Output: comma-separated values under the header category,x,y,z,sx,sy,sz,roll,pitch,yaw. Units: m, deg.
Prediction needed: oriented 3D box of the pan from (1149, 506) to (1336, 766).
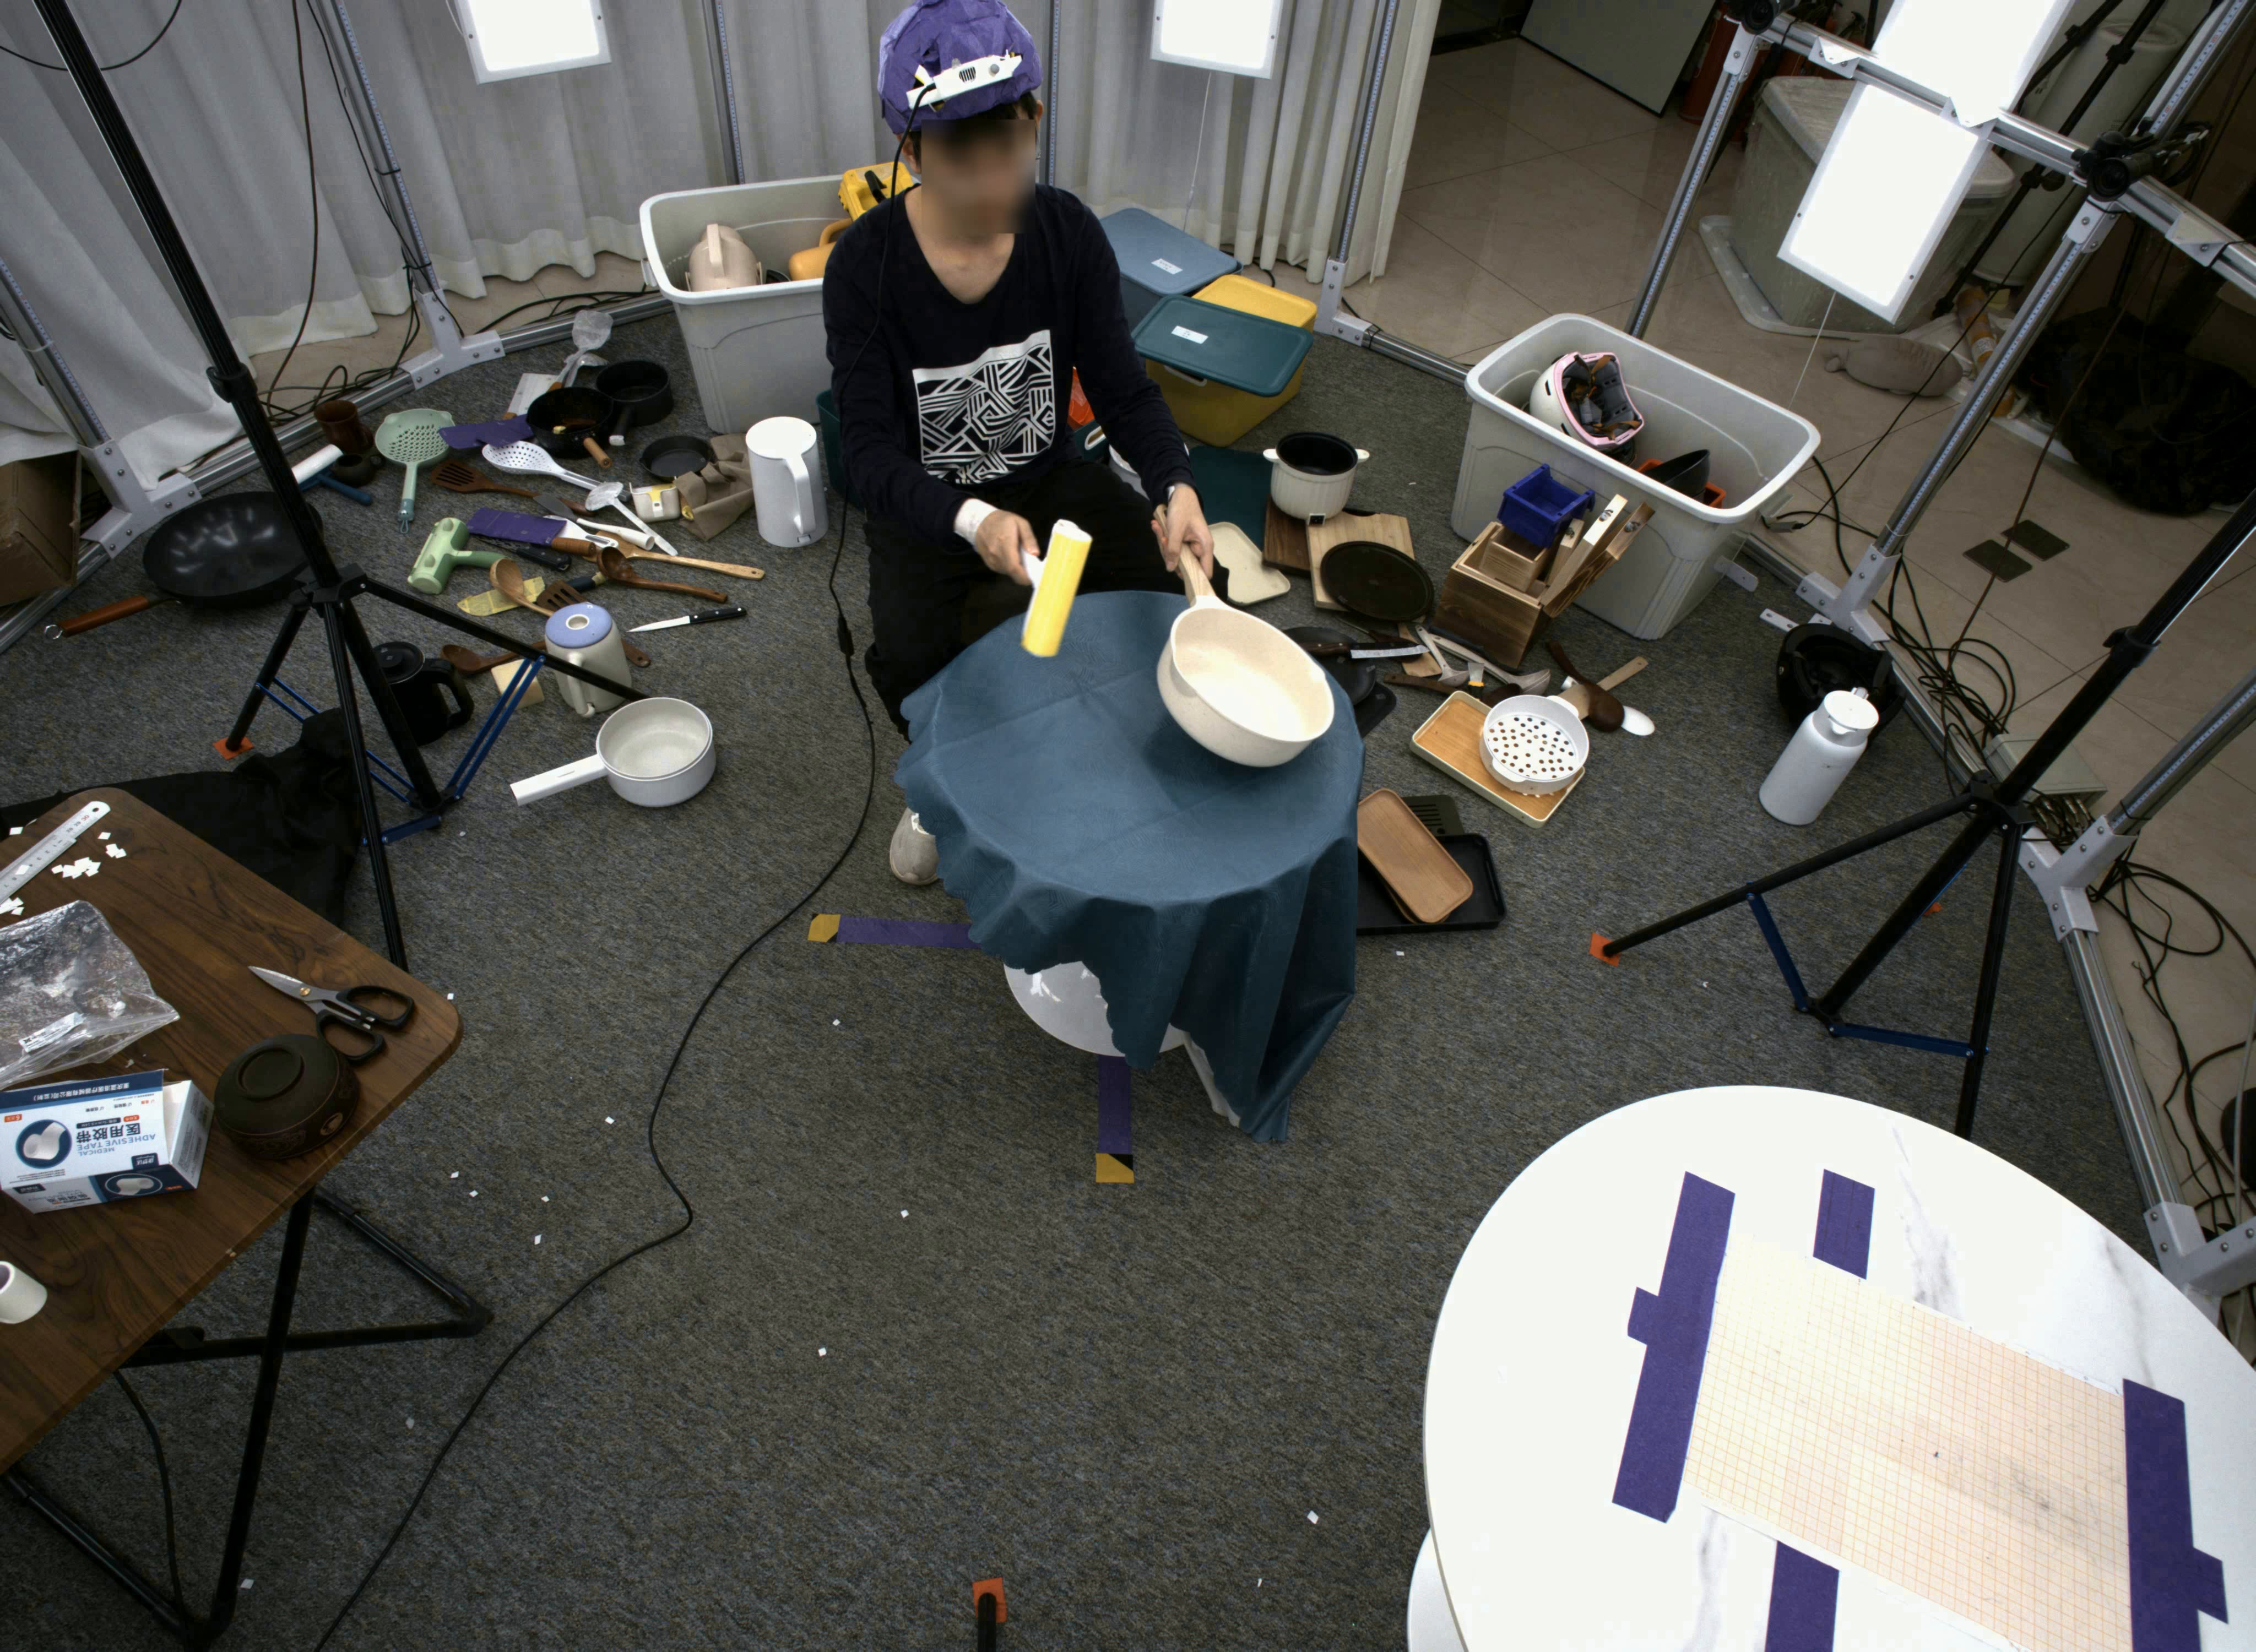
category,x,y,z,sx,sy,sz,roll,pitch,yaw
pan,0.117,-0.261,1.784,0.262,0.100,0.444,-5,53,-35

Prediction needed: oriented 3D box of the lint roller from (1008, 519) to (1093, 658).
category,x,y,z,sx,sy,sz,roll,pitch,yaw
lint roller,-0.125,-0.334,1.689,0.051,0.171,0.196,-1,31,-37
